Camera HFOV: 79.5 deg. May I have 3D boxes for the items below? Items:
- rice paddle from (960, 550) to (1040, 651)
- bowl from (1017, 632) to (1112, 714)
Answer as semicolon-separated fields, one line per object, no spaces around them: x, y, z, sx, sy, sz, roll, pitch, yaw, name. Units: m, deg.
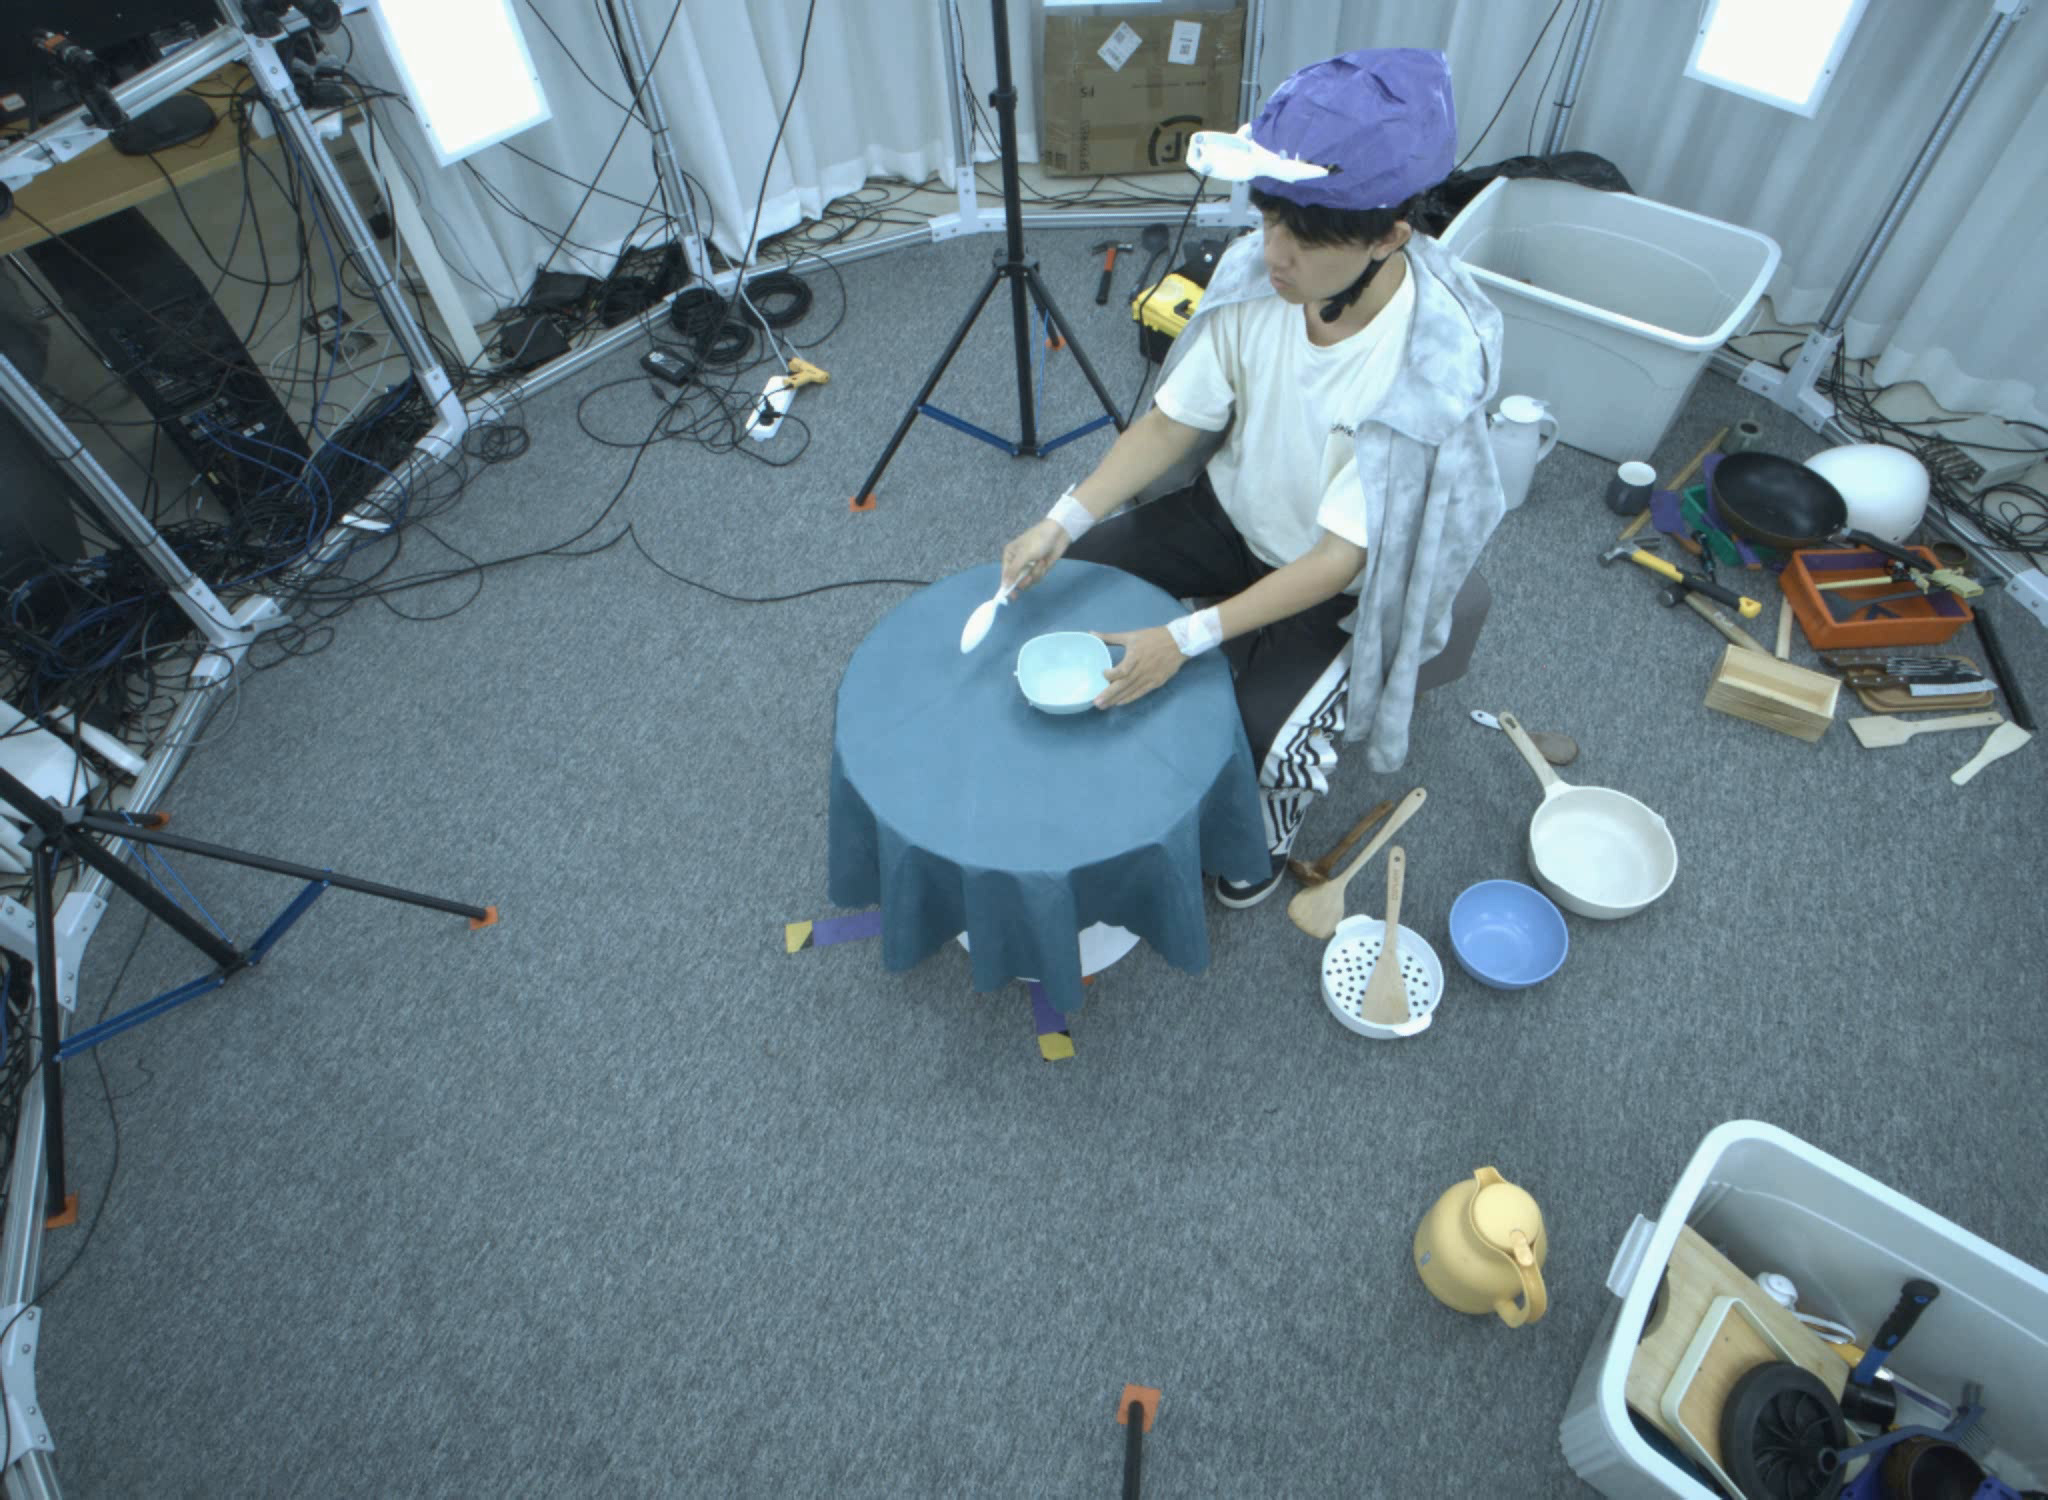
-0.043;-0.228;1.865;0.029;0.069;0.206;25;61;21;rice paddle
0.062;-0.105;1.826;0.151;0.059;0.150;-2;54;4;bowl
